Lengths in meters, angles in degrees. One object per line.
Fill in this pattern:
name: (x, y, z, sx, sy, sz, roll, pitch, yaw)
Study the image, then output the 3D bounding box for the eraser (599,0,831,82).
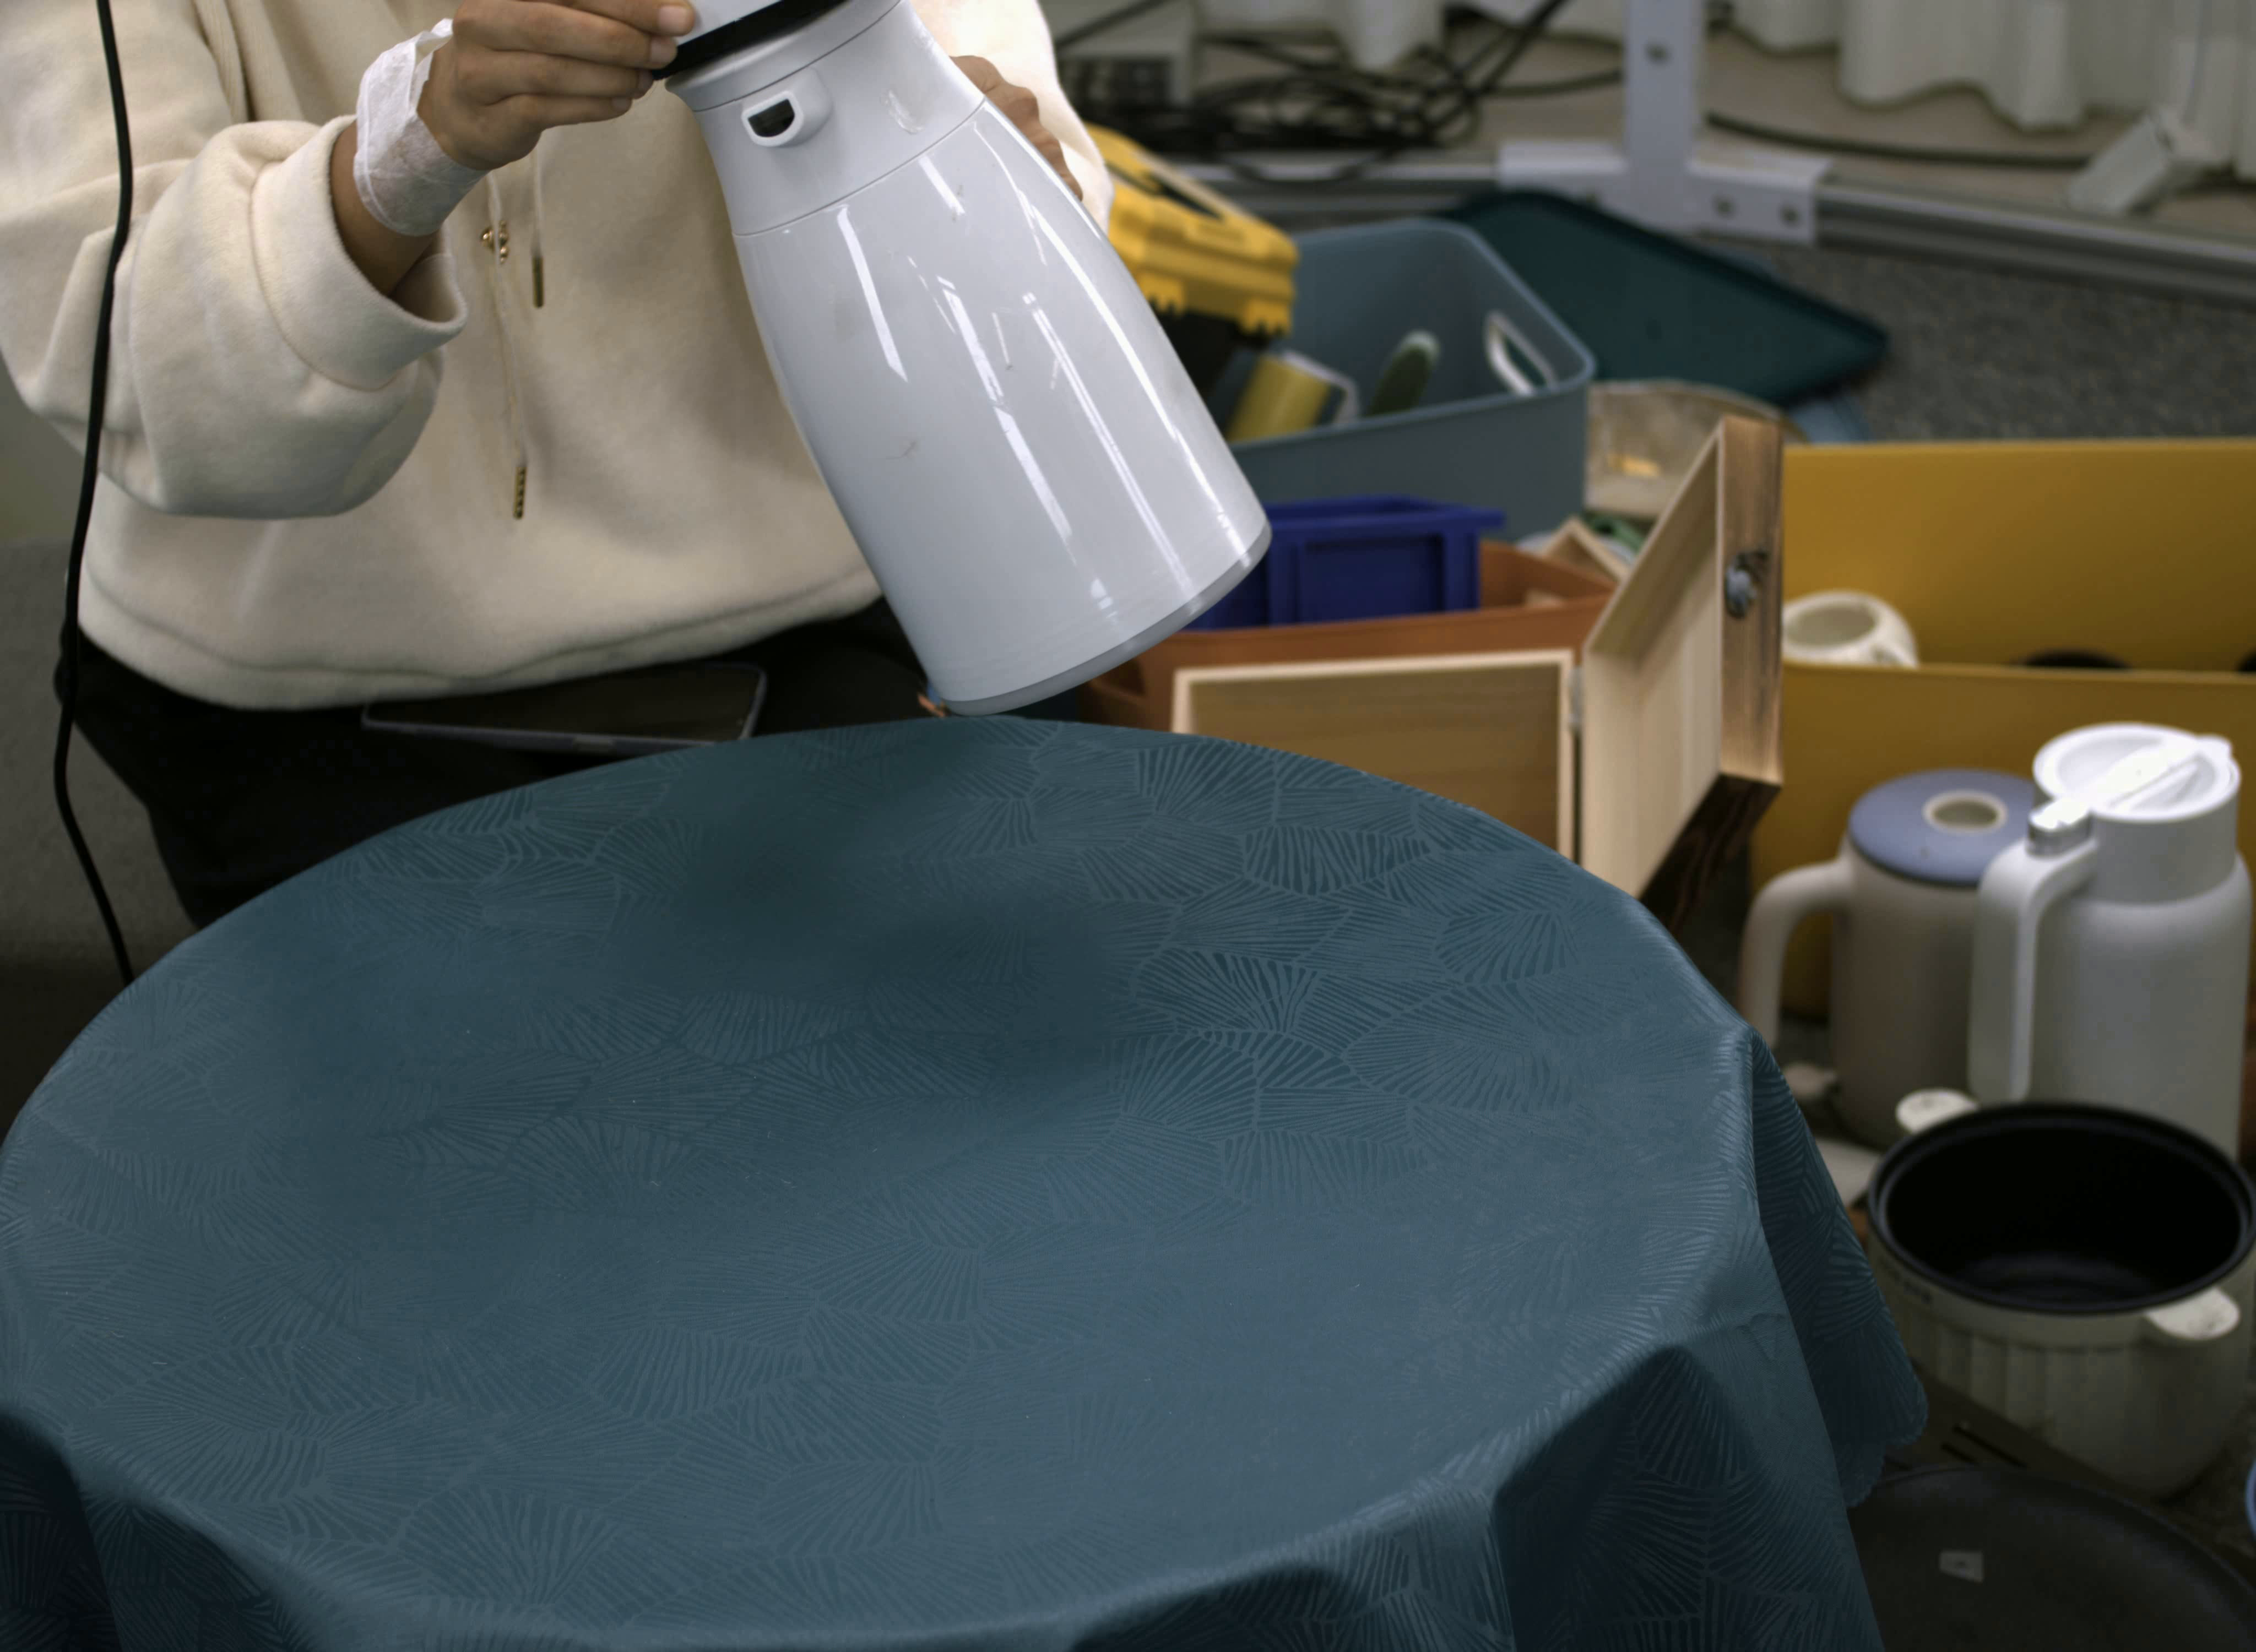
eraser: (-0.117, -0.293, 1.898, 0.129, 0.034, 0.064, -18, 24, 33)

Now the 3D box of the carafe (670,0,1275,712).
carafe: (-0.062, -0.185, 1.973, 0.131, 0.247, 0.170, -25, 15, 15)
